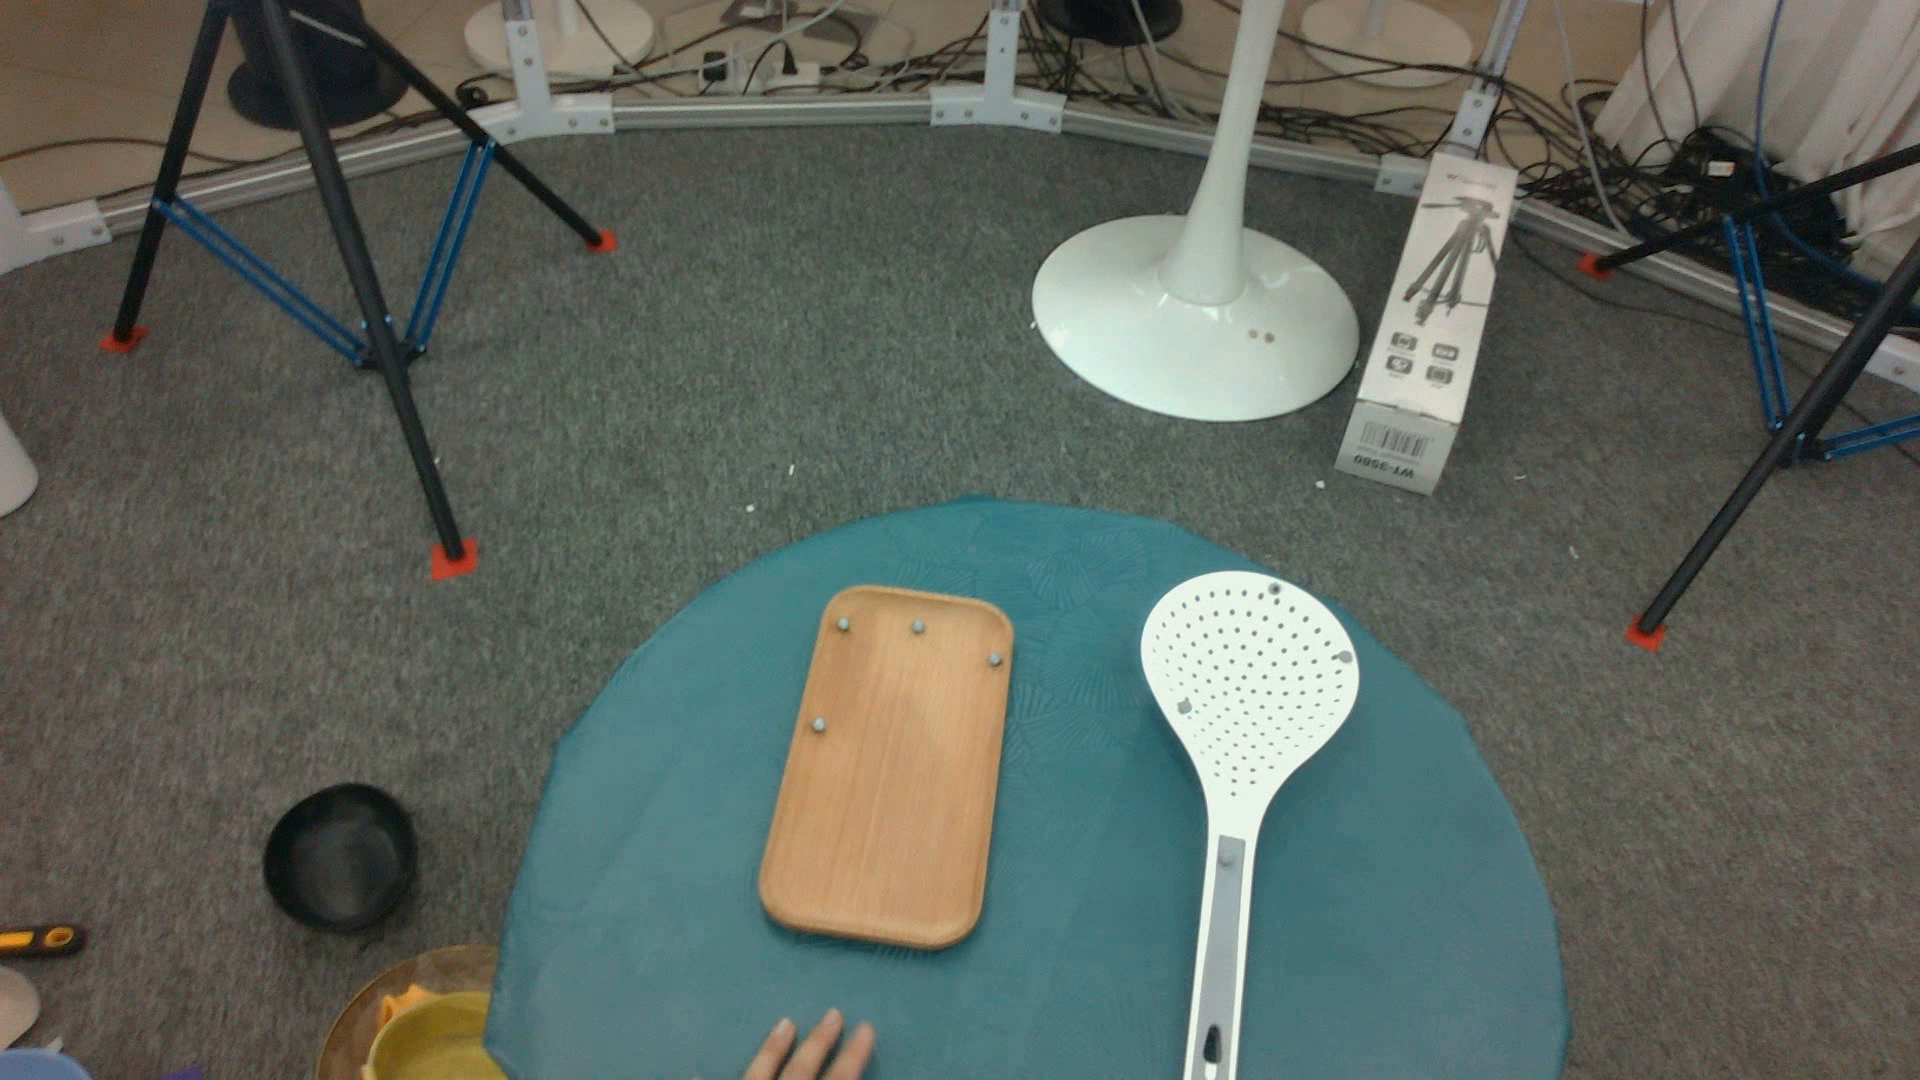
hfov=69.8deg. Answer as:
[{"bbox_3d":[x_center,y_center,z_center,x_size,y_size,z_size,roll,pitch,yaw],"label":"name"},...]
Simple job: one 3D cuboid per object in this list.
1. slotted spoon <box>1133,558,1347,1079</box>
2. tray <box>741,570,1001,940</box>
[{"bbox_3d":[0.154,0.155,0.814,0.136,0.045,0.351,11,49,6],"label":"slotted spoon"},{"bbox_3d":[-0.048,0.122,0.841,0.130,0.023,0.252,7,49,3],"label":"tray"}]
